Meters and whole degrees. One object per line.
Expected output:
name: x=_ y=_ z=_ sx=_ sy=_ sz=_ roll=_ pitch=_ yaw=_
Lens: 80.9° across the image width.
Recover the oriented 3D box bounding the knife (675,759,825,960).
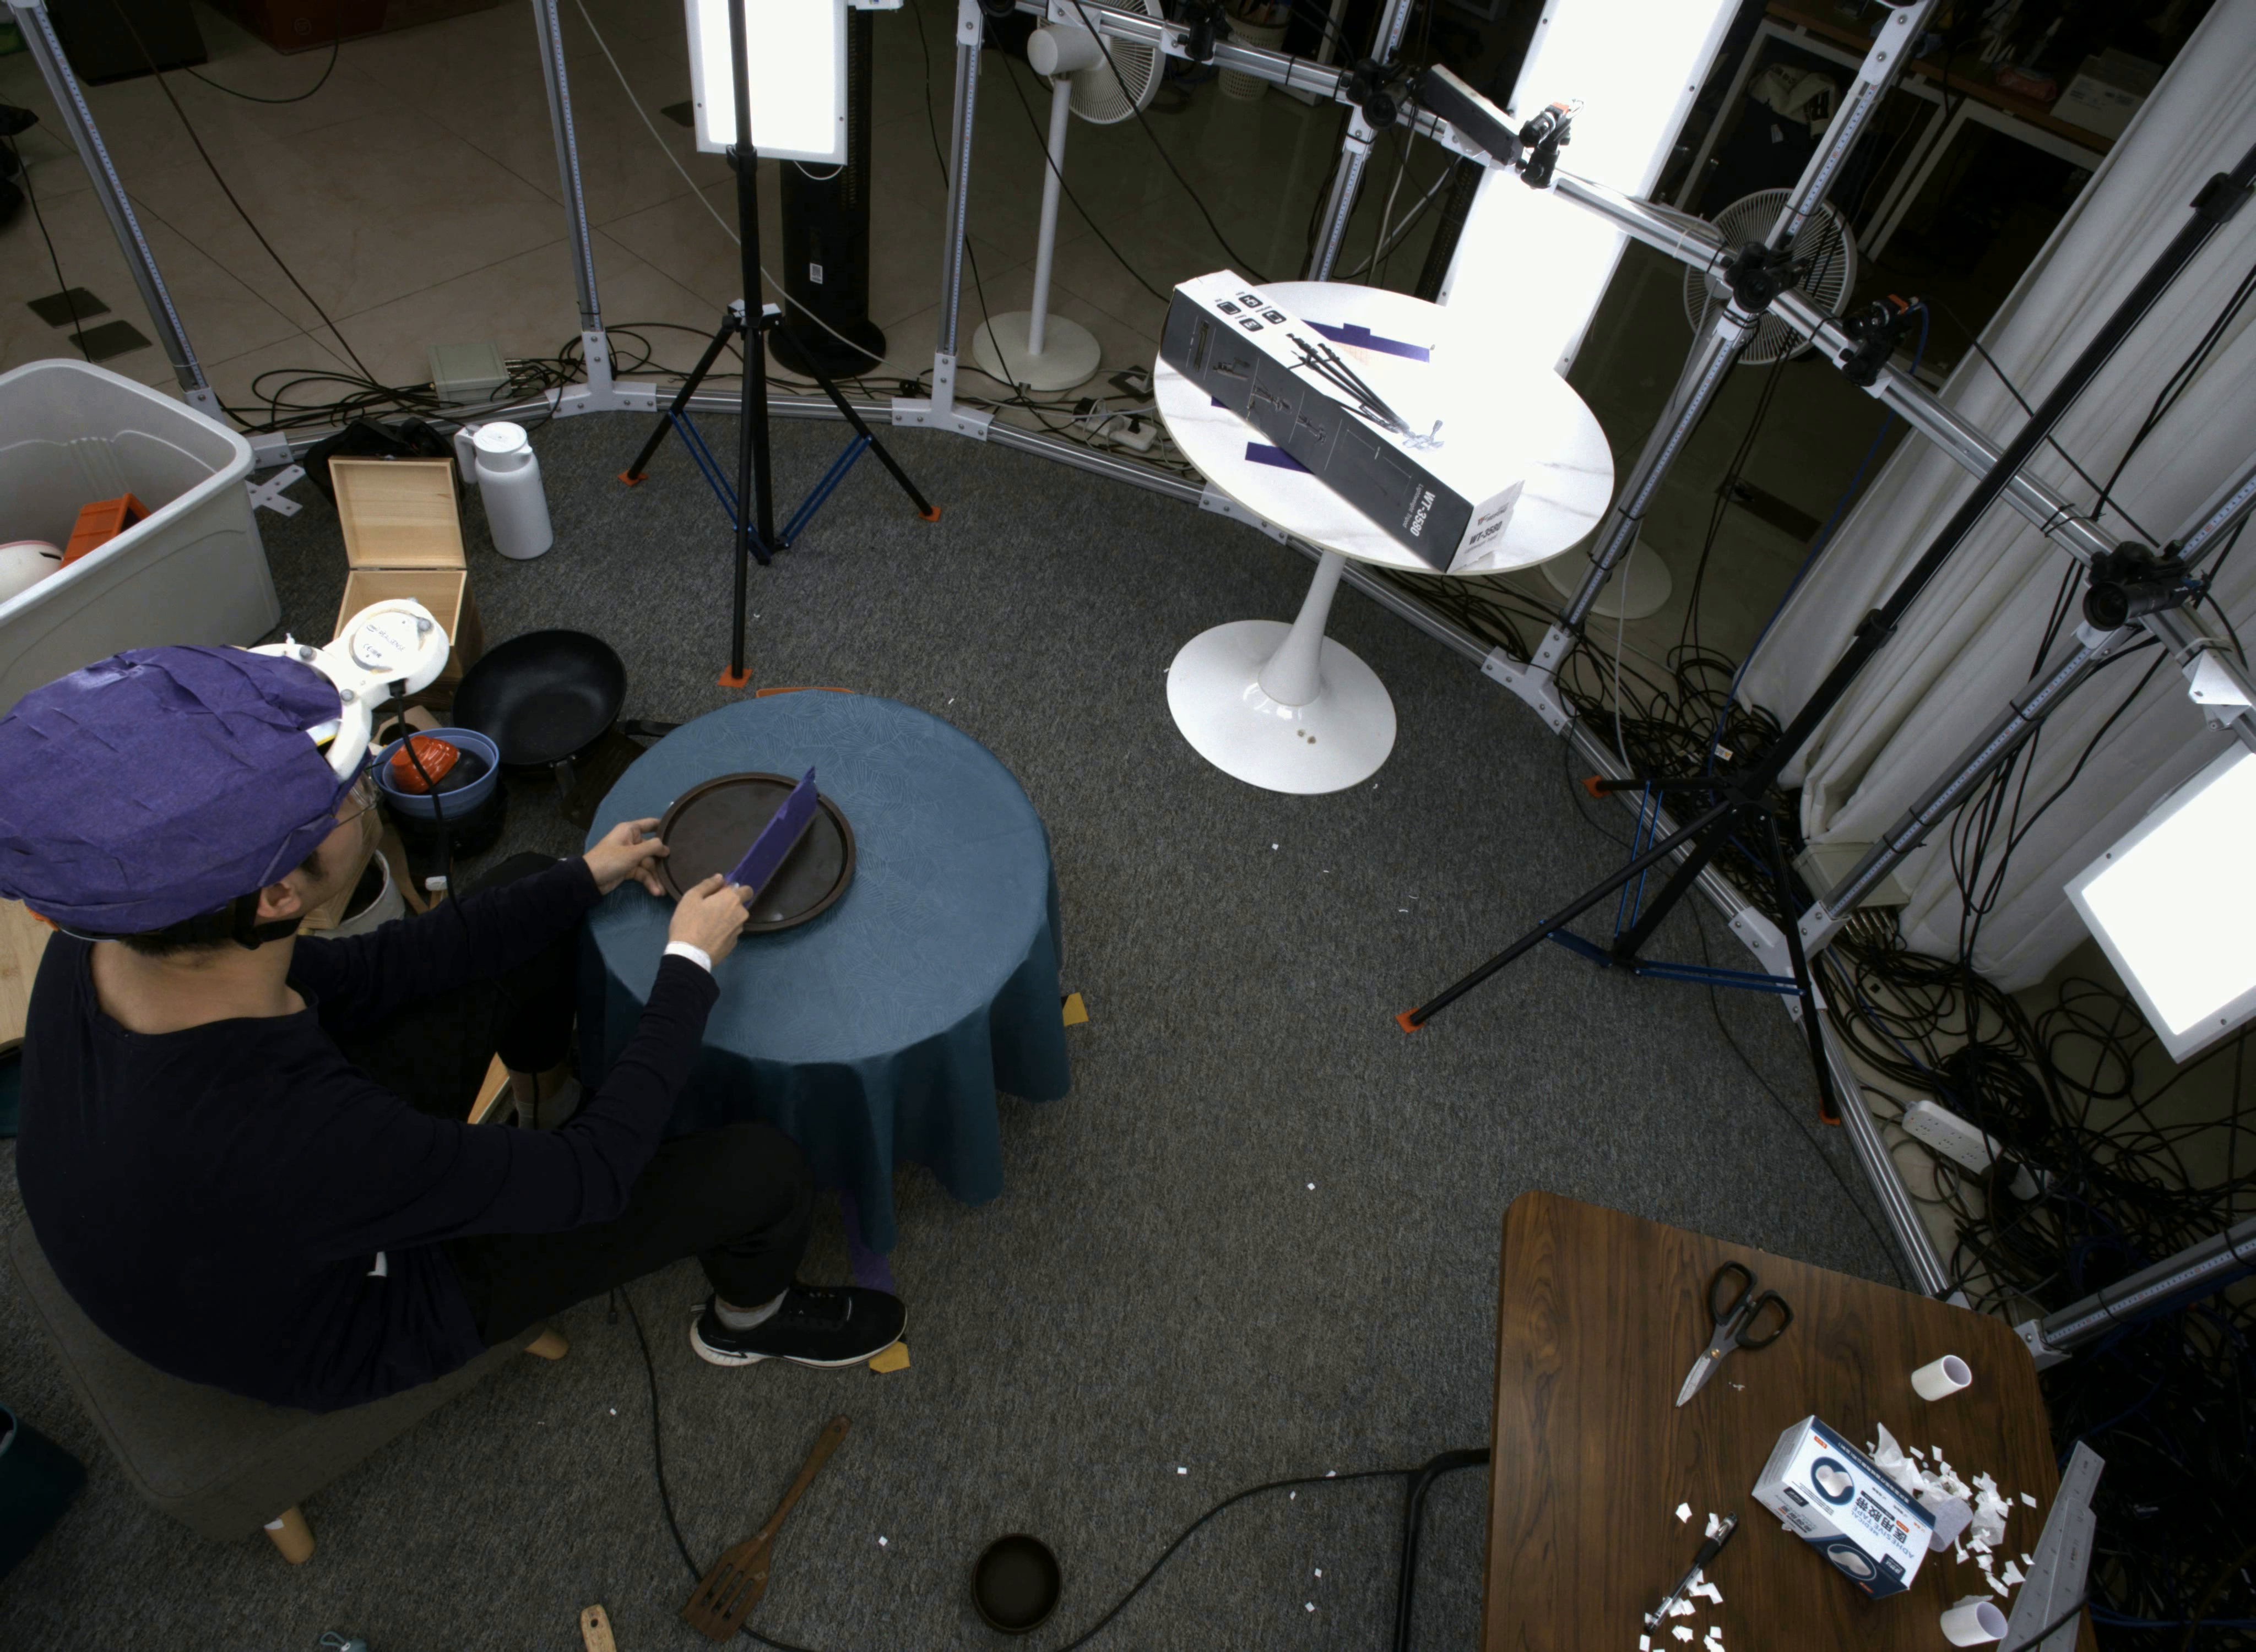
knife: x=-0.453 y=0.054 z=1.592 sx=0.031 sy=0.106 sz=0.313 roll=20 pitch=51 yaw=10

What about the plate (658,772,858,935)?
plate: x=-0.477 y=0.033 z=1.672 sx=0.255 sy=0.029 sz=0.250 roll=11 pitch=51 yaw=-12
